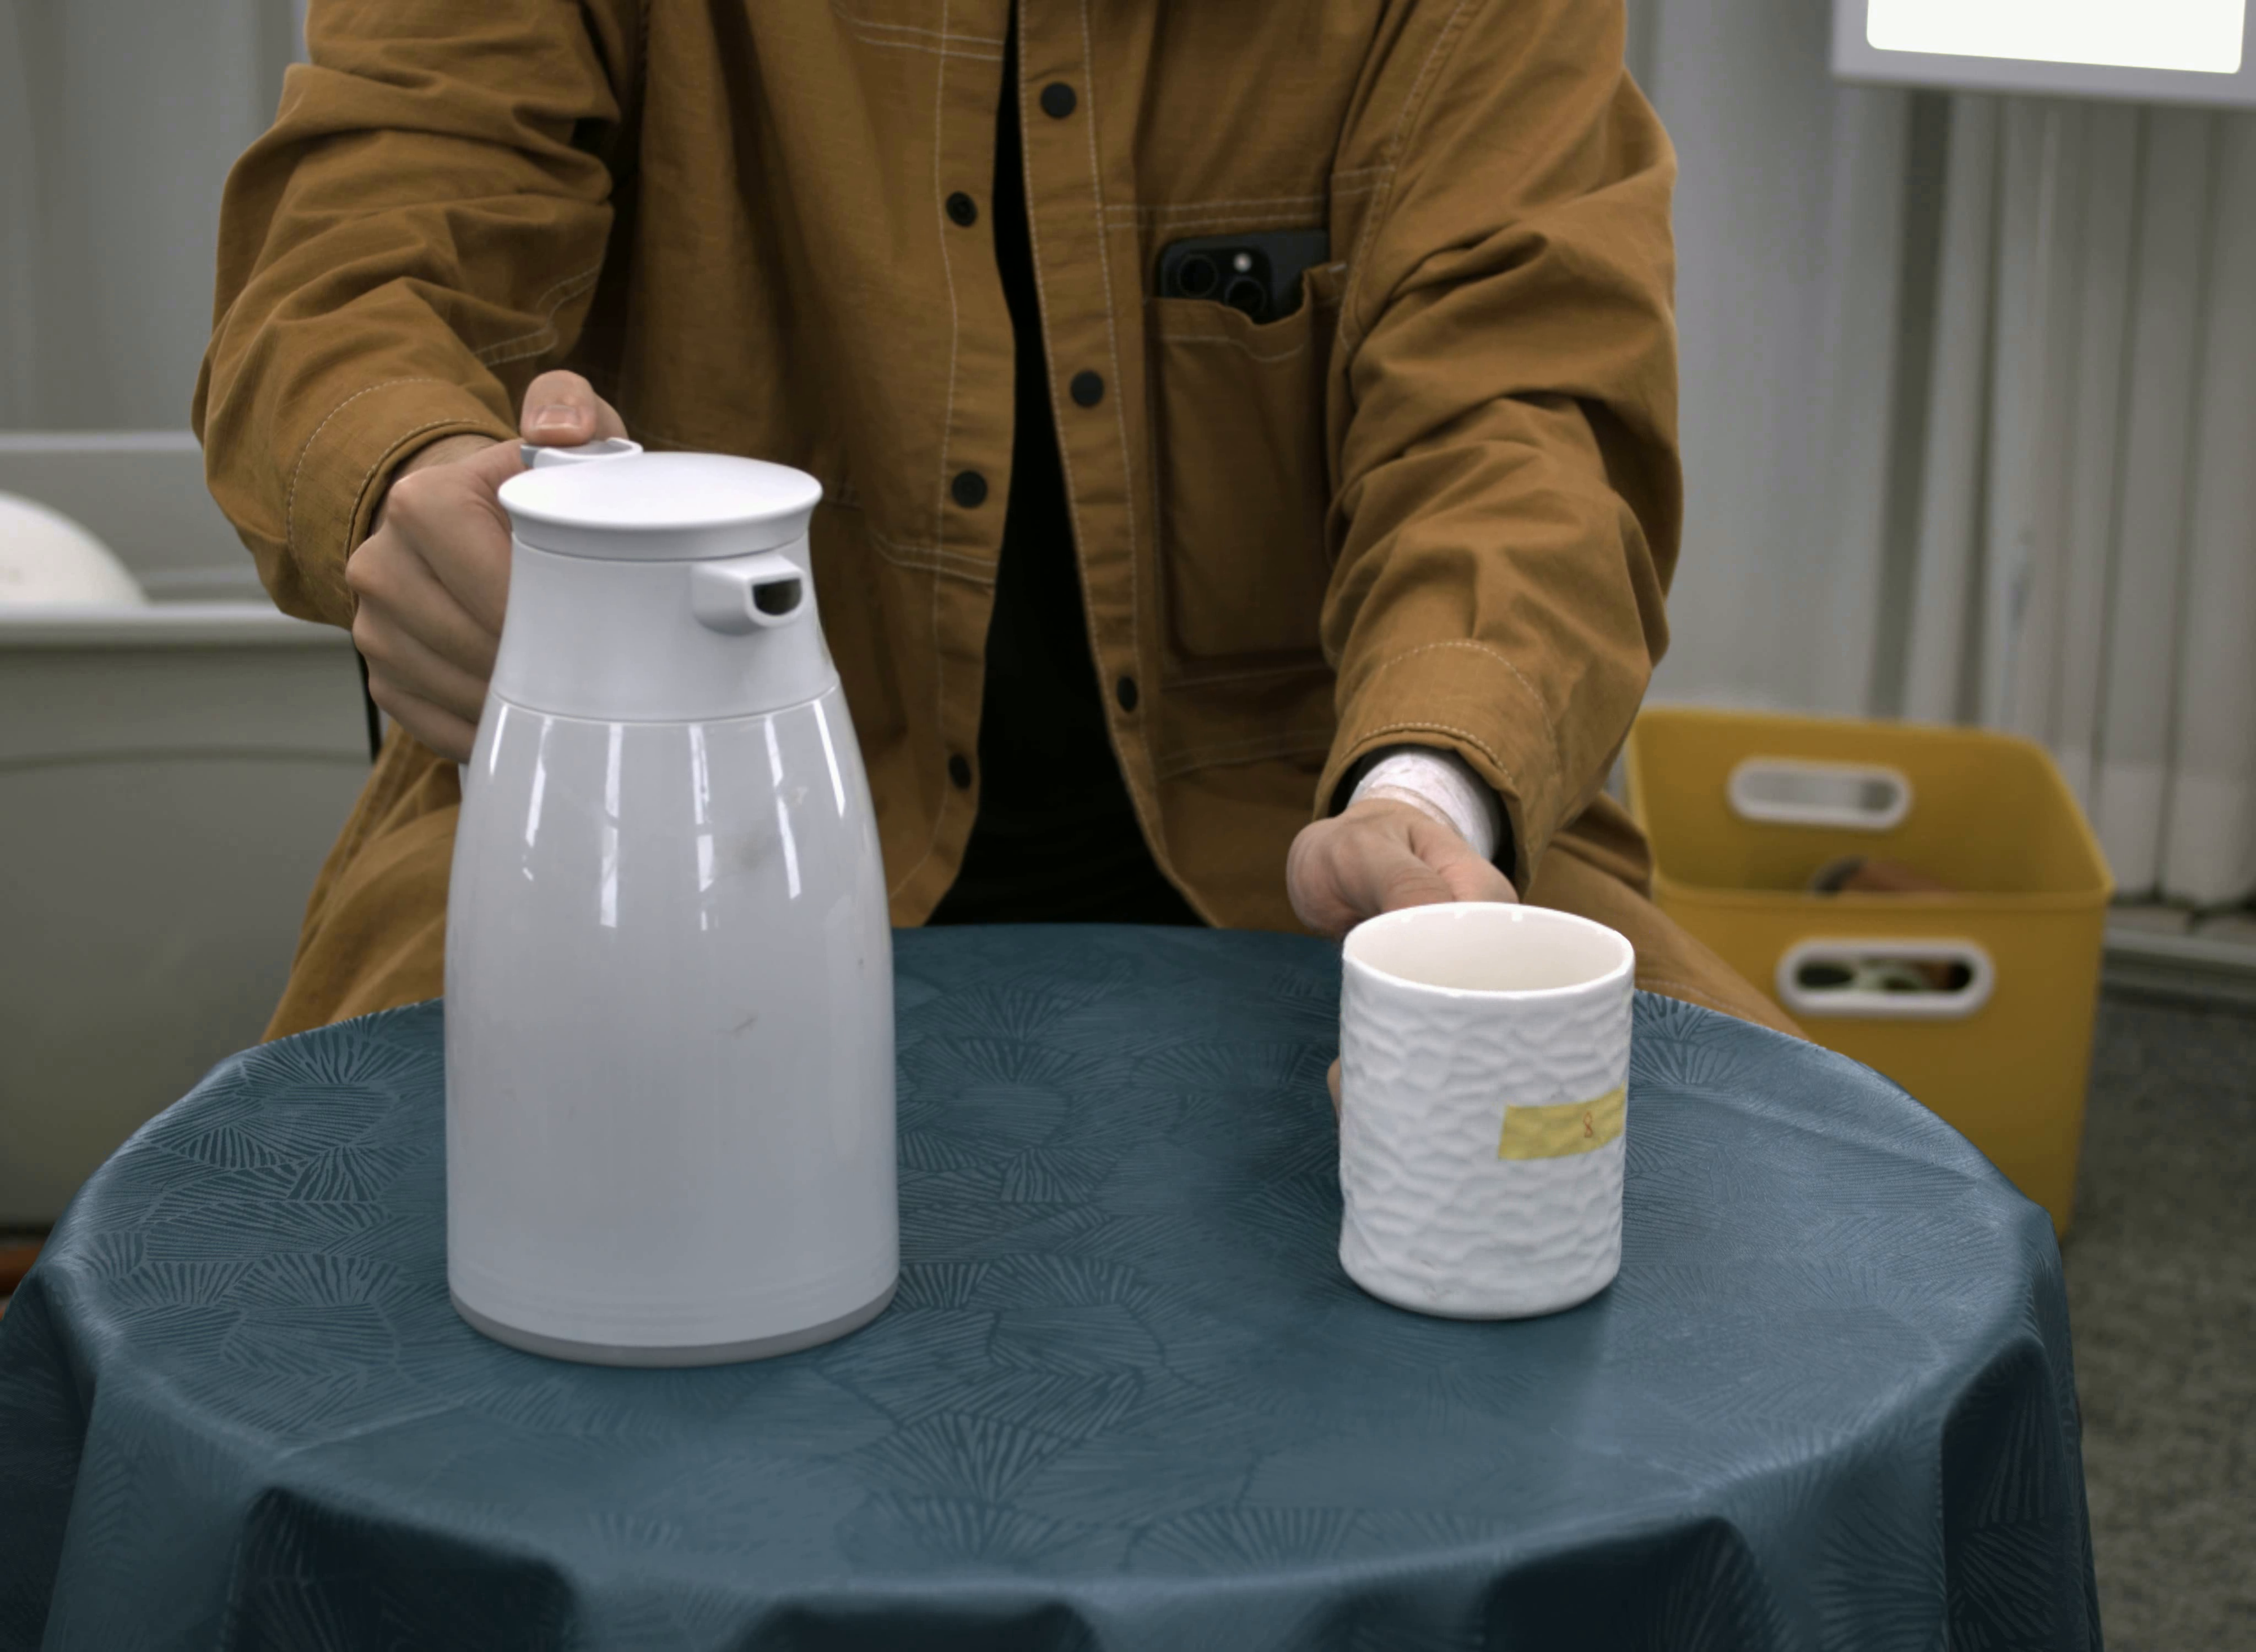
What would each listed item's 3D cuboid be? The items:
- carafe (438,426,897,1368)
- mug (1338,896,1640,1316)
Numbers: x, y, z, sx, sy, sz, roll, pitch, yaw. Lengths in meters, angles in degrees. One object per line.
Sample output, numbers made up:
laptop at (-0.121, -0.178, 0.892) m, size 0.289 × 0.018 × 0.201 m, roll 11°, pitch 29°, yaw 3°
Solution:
carafe at (-0.145, 0.012, 1.515) m, size 0.133 × 0.250 × 0.165 m, roll -13°, pitch 20°, yaw -36°
mug at (0.100, 0.077, 1.552) m, size 0.085 × 0.103 × 0.117 m, roll -4°, pitch 18°, yaw -17°
